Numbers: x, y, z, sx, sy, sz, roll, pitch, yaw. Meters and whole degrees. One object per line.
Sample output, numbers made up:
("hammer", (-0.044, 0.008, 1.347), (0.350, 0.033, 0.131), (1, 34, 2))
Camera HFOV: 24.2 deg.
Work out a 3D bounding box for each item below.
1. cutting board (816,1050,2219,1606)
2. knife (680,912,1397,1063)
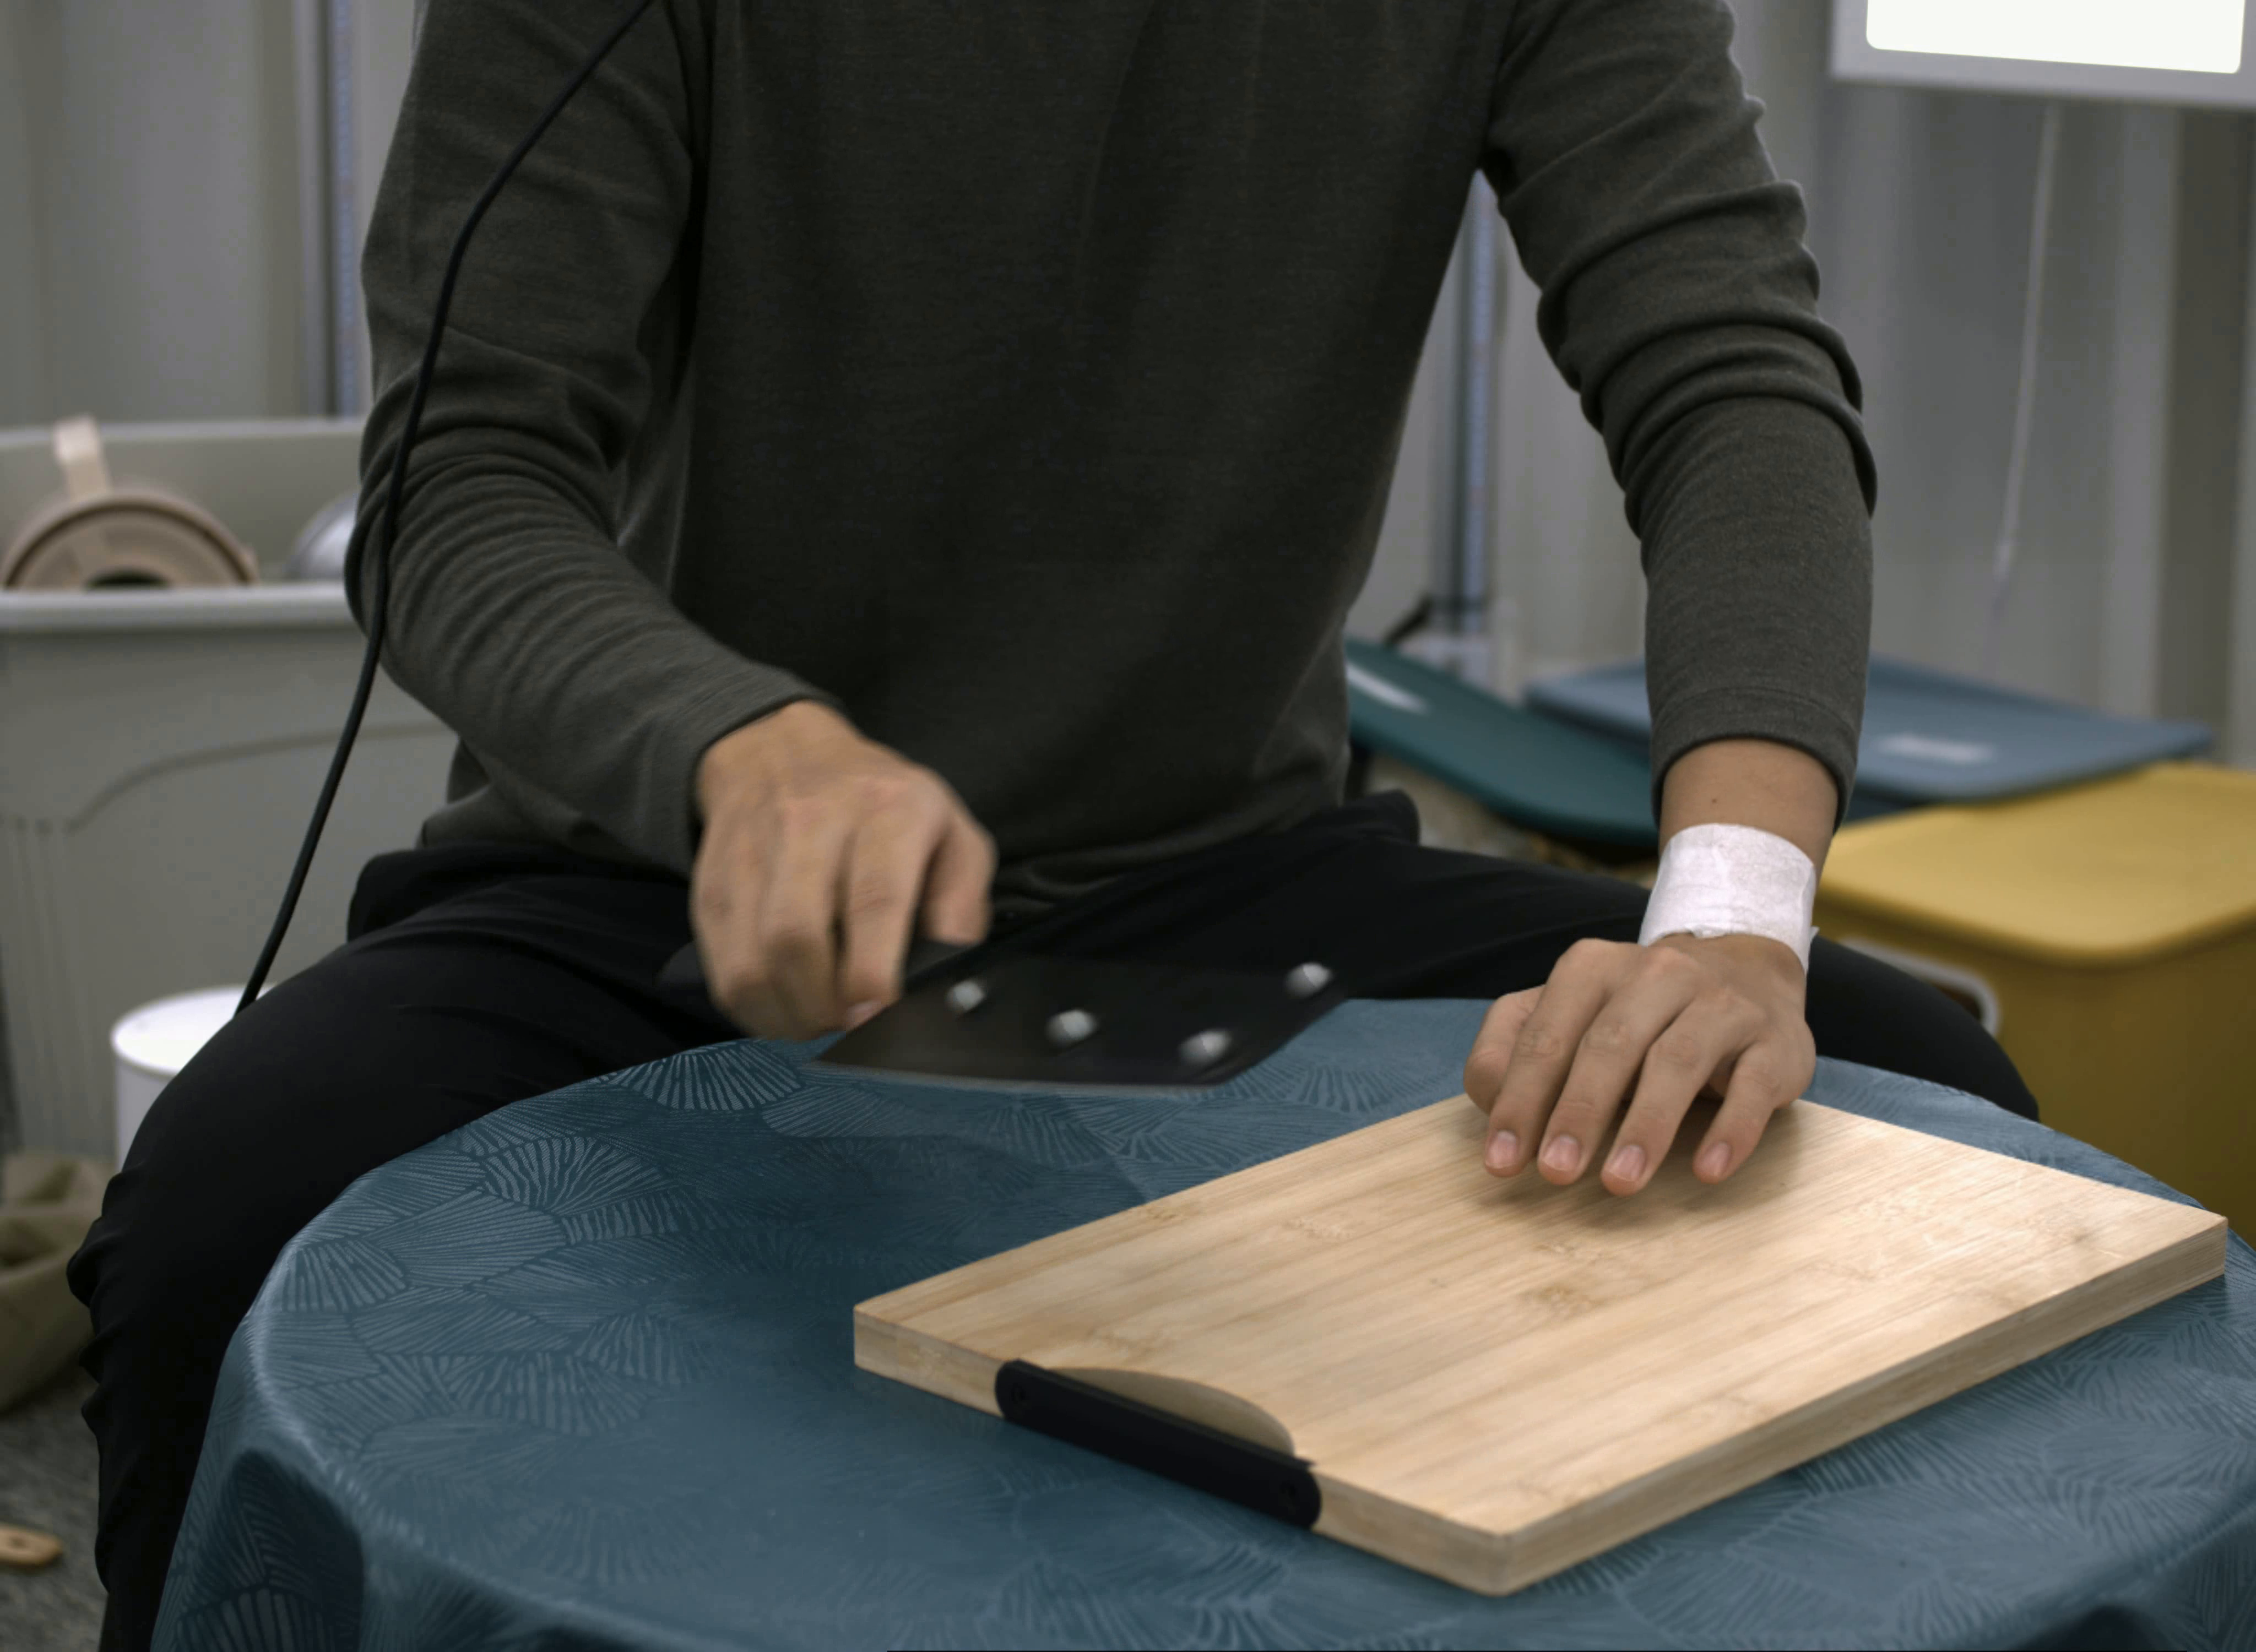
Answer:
("cutting board", (0.119, 0.135, 1.517), (0.247, 0.024, 0.350), (13, 19, 41))
("knife", (-0.040, 0.047, 1.497), (0.081, 0.021, 0.299), (-33, 21, -30))
